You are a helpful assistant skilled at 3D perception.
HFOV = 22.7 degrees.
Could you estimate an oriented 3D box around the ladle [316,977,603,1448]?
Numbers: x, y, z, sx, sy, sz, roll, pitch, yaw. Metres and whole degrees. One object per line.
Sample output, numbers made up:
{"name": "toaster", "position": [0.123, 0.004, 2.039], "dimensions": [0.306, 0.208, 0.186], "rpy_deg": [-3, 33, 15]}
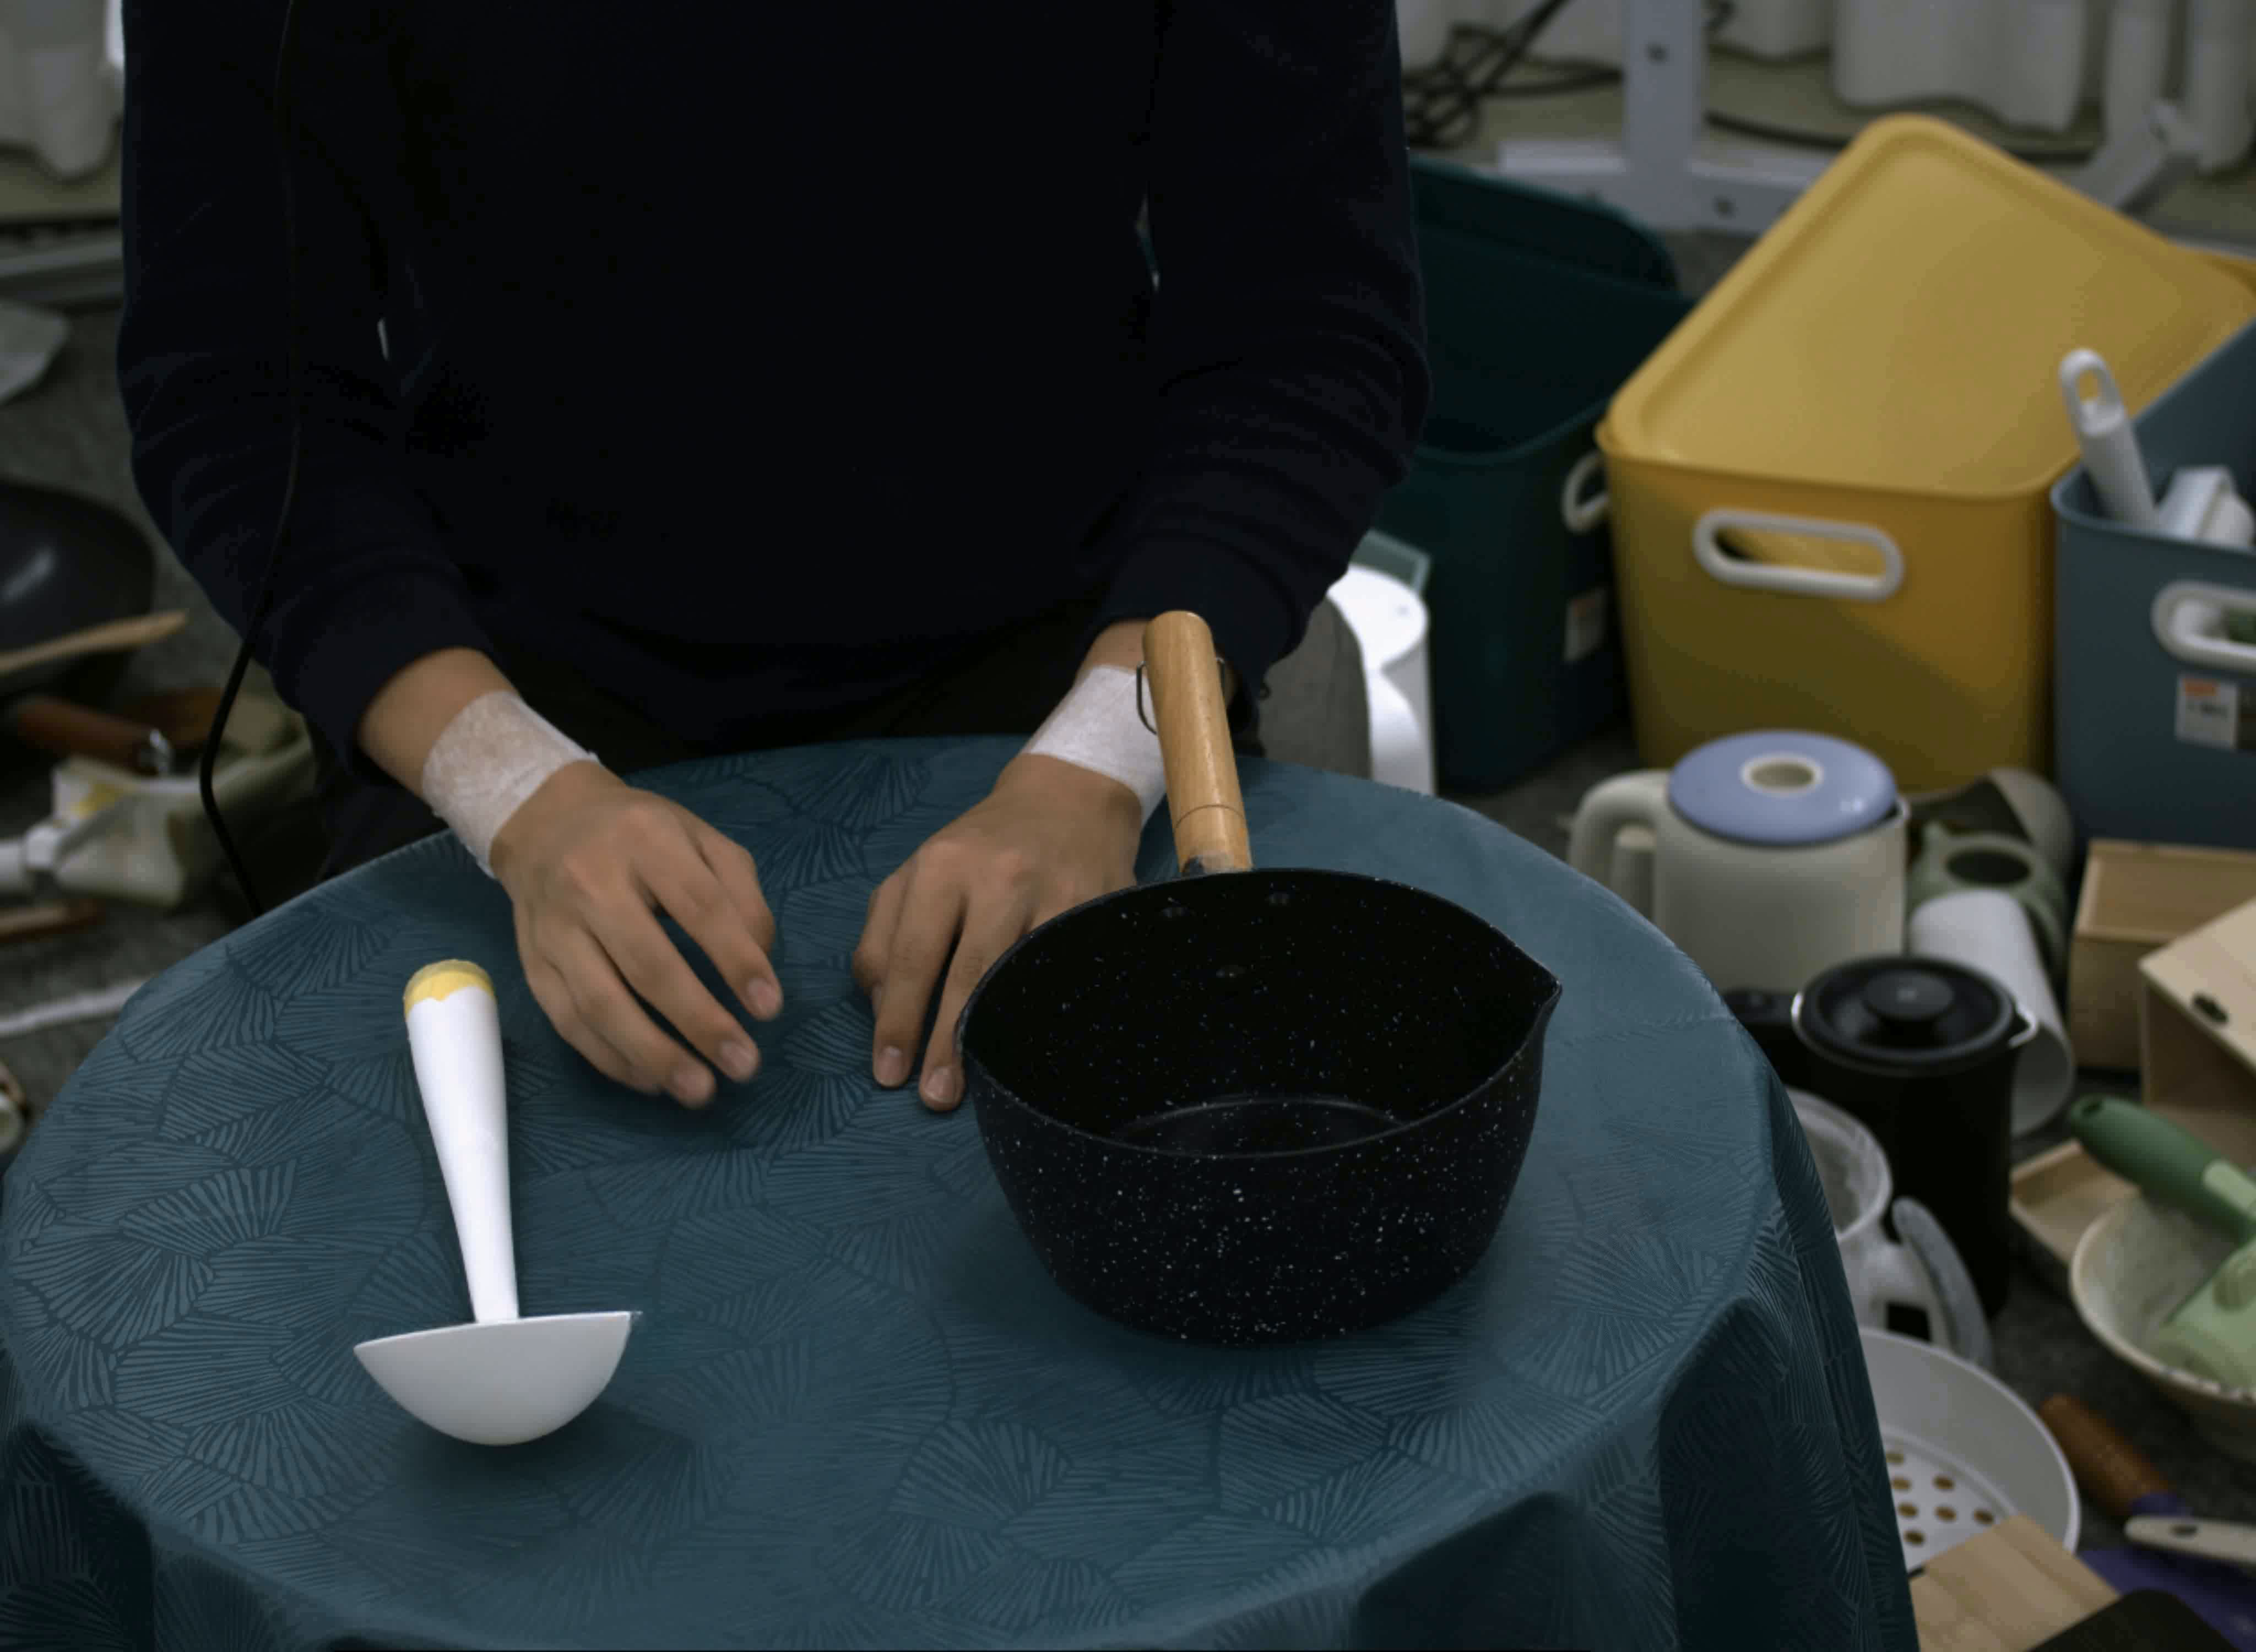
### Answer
{"name": "ladle", "position": [-0.221, 0.114, 1.830], "dimensions": [0.090, 0.069, 0.296], "rpy_deg": [-12, 27, -3]}

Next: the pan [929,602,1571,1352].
{"name": "pan", "position": [0.033, 0.047, 1.886], "dimensions": [0.207, 0.107, 0.347], "rpy_deg": [-6, 29, -4]}
